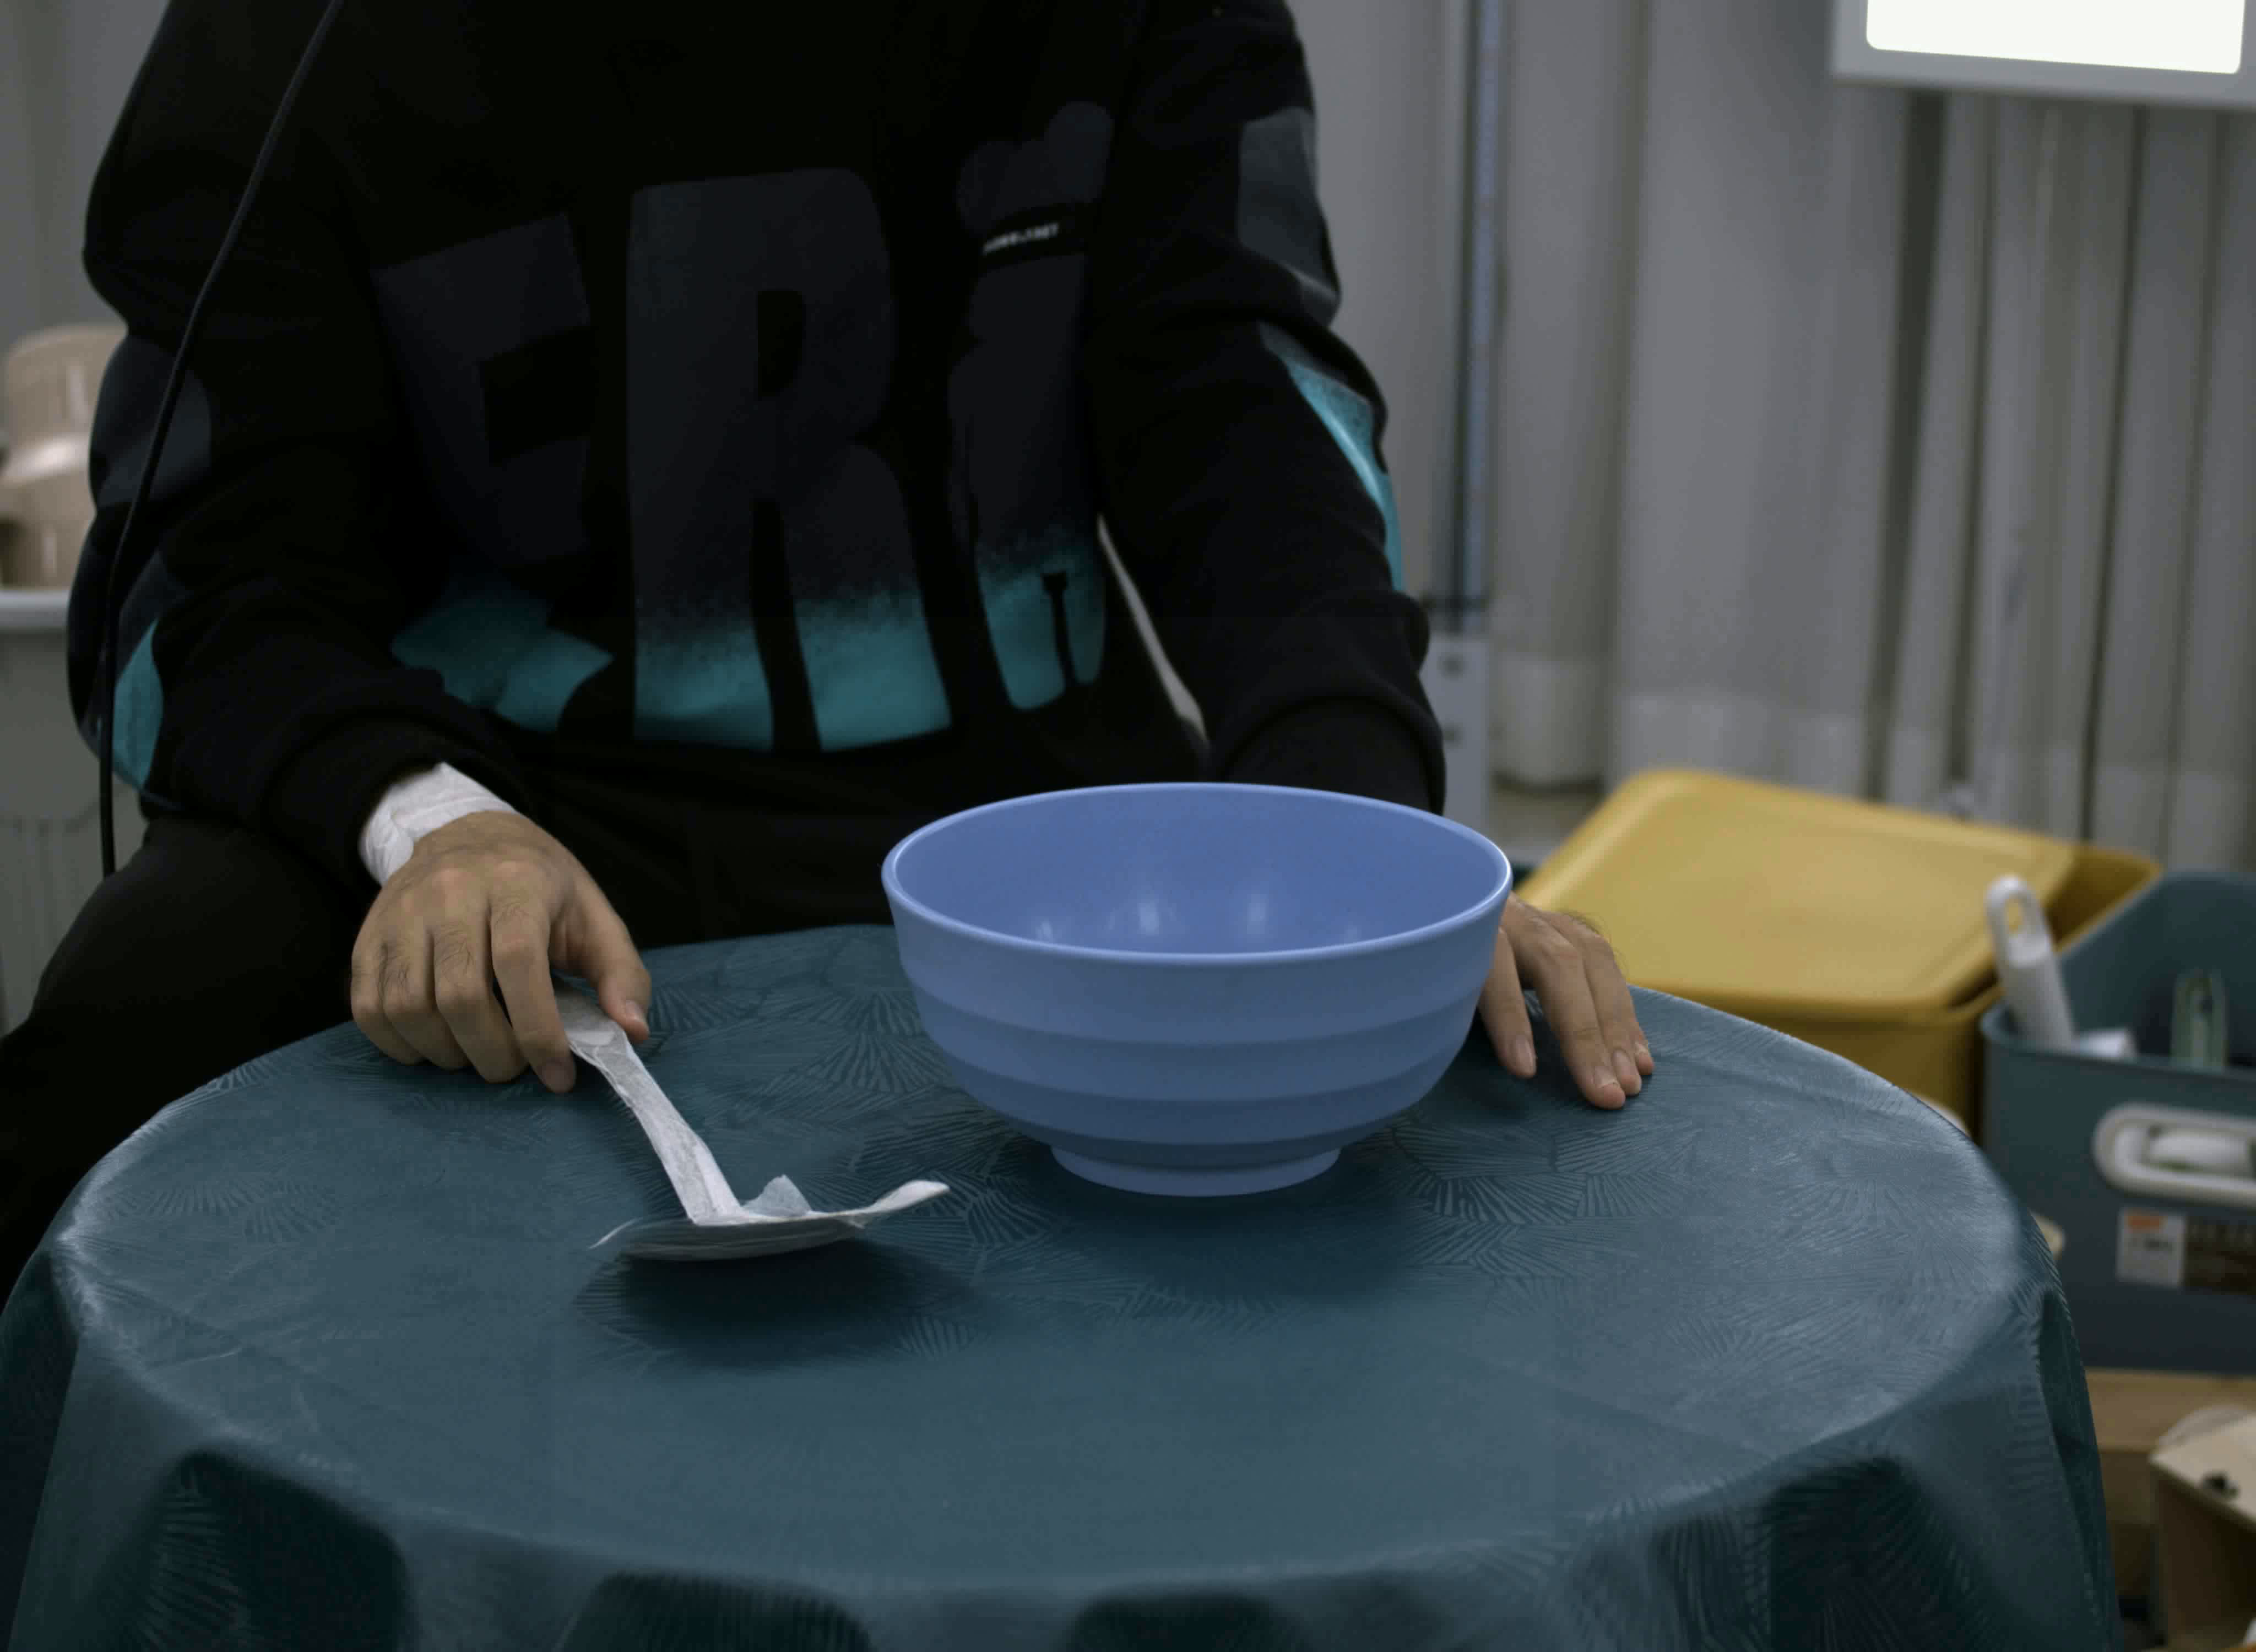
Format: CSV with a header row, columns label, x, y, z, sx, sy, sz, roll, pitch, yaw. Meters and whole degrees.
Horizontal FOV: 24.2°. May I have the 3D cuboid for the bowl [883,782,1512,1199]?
label,x,y,z,sx,sy,sz,roll,pitch,yaw
bowl,0.022,0.057,1.651,0.196,0.096,0.195,0,17,1

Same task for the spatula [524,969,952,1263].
label,x,y,z,sx,sy,sz,roll,pitch,yaw
spatula,-0.147,0.082,1.658,0.099,0.045,0.361,-7,18,-18
